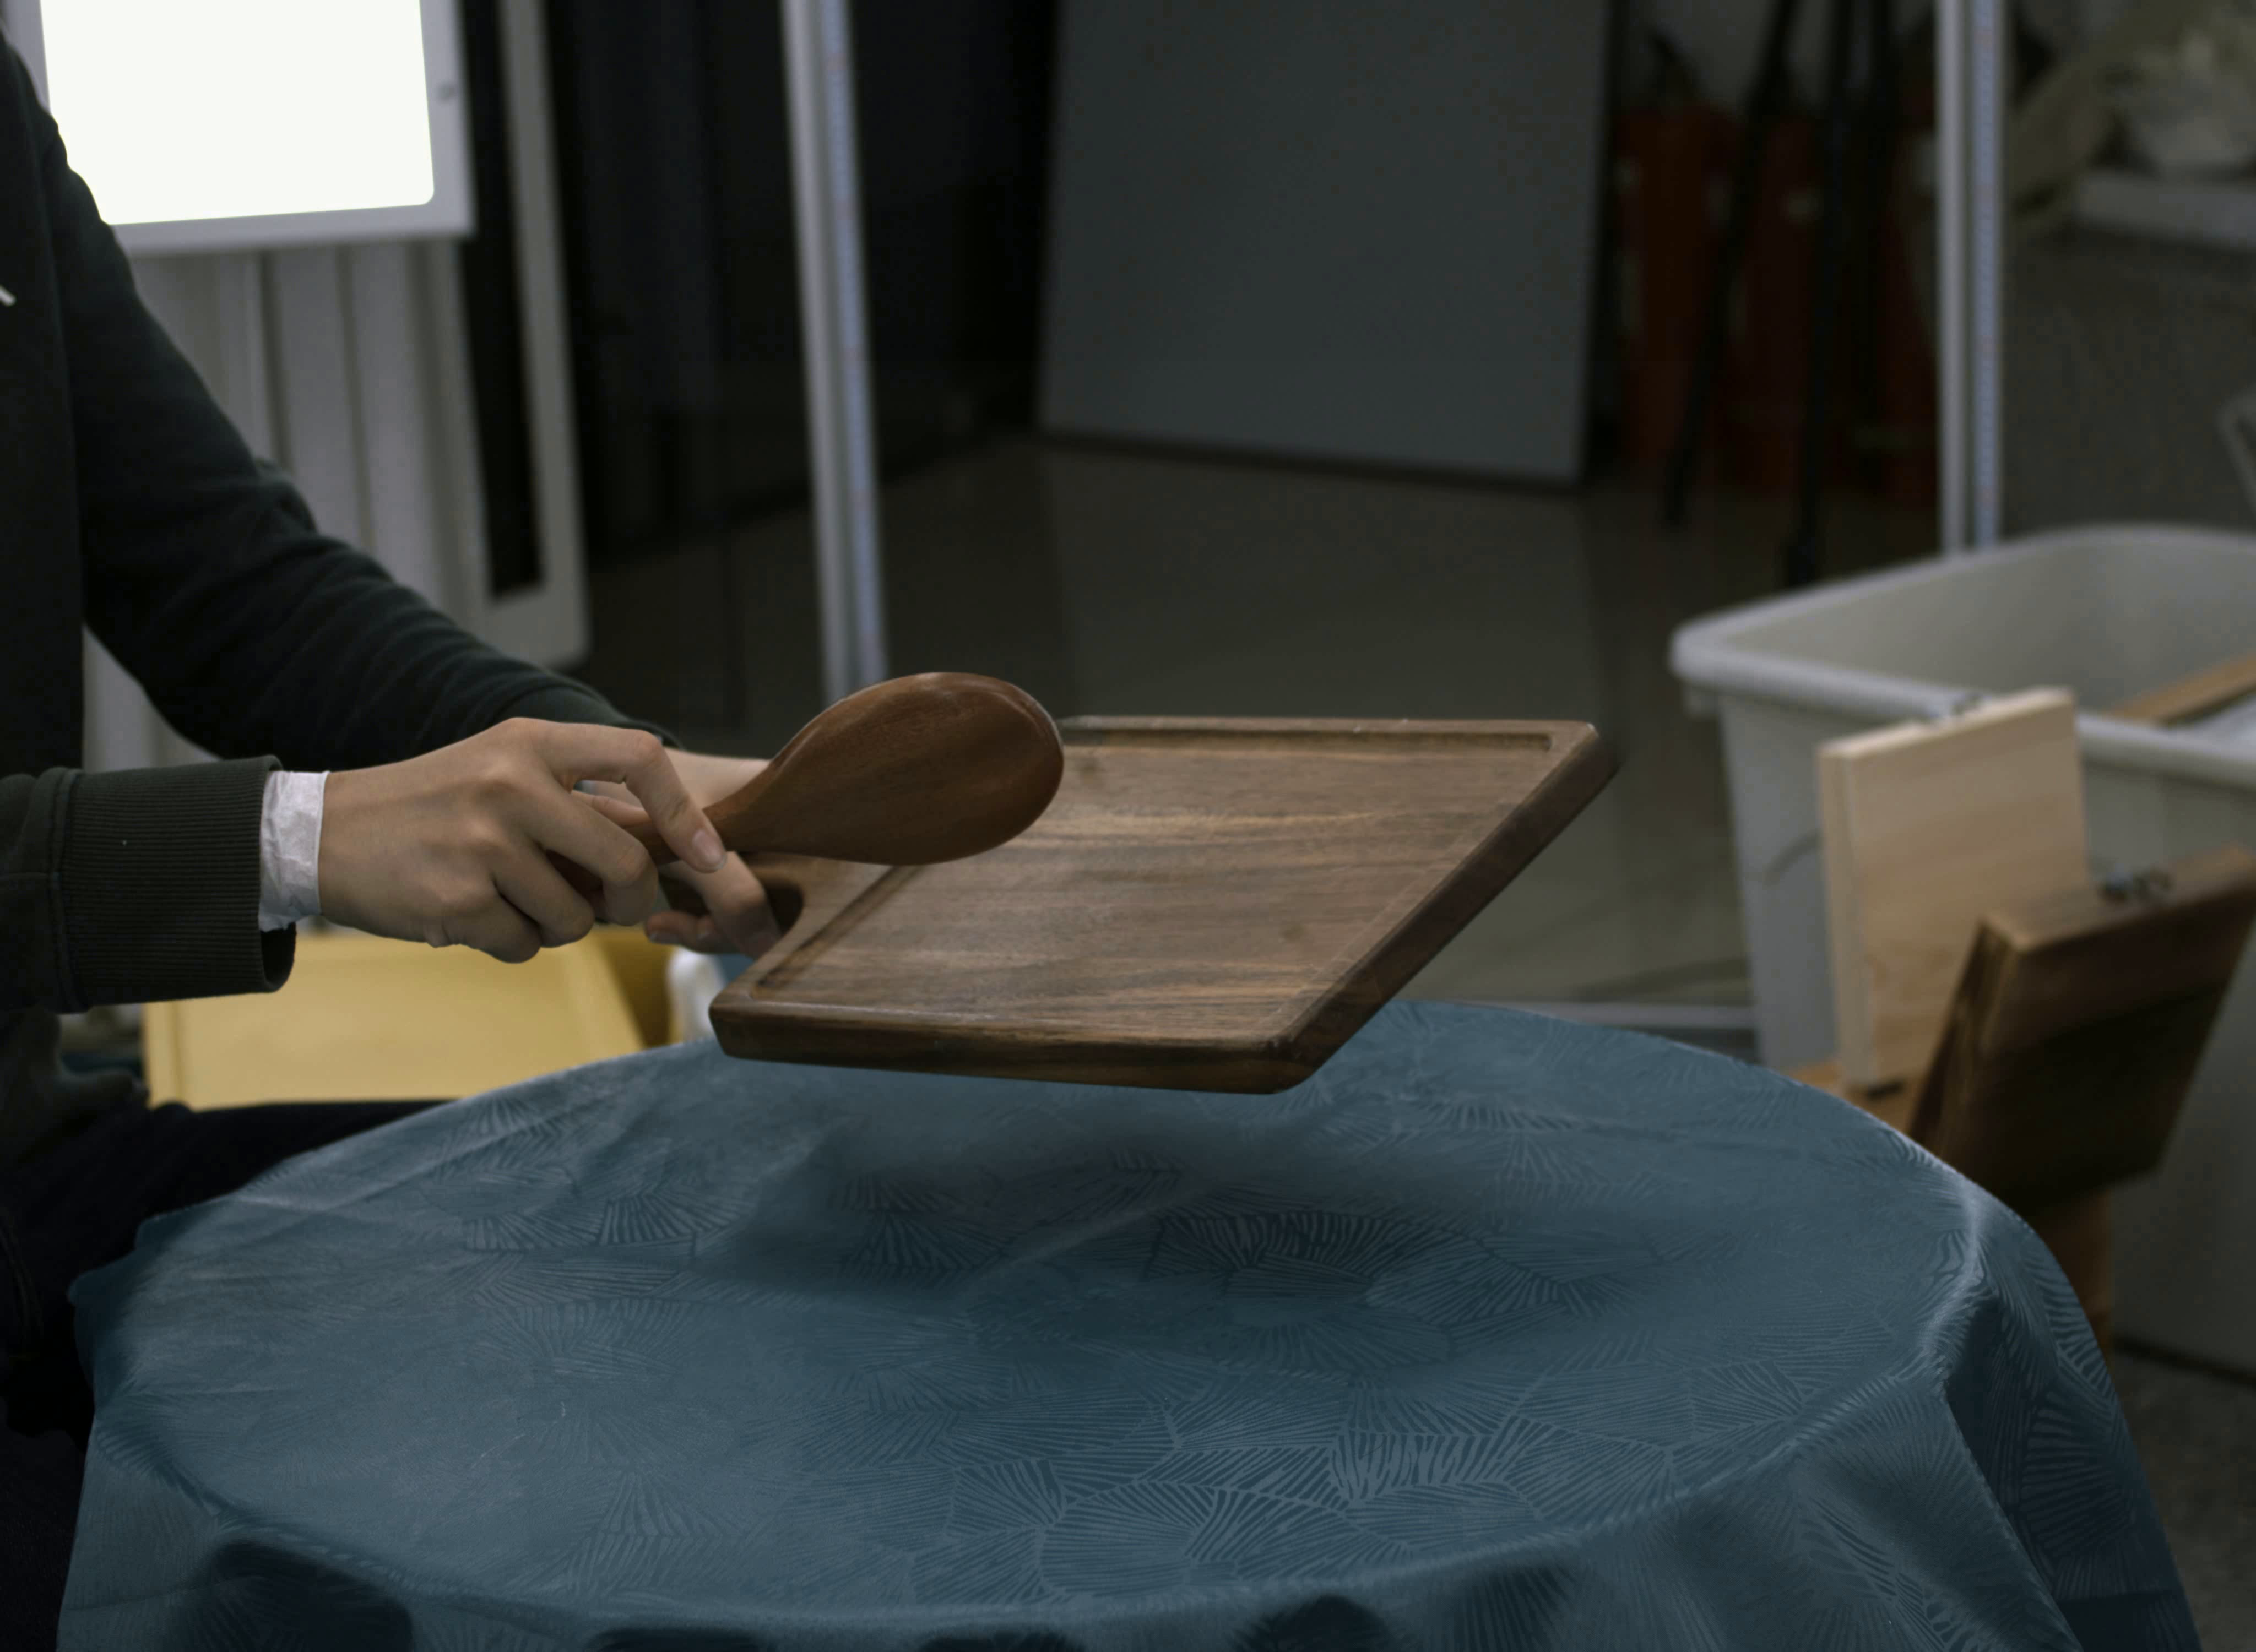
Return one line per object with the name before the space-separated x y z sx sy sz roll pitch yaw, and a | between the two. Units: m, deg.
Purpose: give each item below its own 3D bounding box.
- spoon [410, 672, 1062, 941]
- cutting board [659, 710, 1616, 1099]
spoon | -0.123 0.001 1.690 0.214 0.075 0.017 -15 43 11
cutting board | -0.026 0.022 1.775 0.355 0.023 0.199 0 33 43
